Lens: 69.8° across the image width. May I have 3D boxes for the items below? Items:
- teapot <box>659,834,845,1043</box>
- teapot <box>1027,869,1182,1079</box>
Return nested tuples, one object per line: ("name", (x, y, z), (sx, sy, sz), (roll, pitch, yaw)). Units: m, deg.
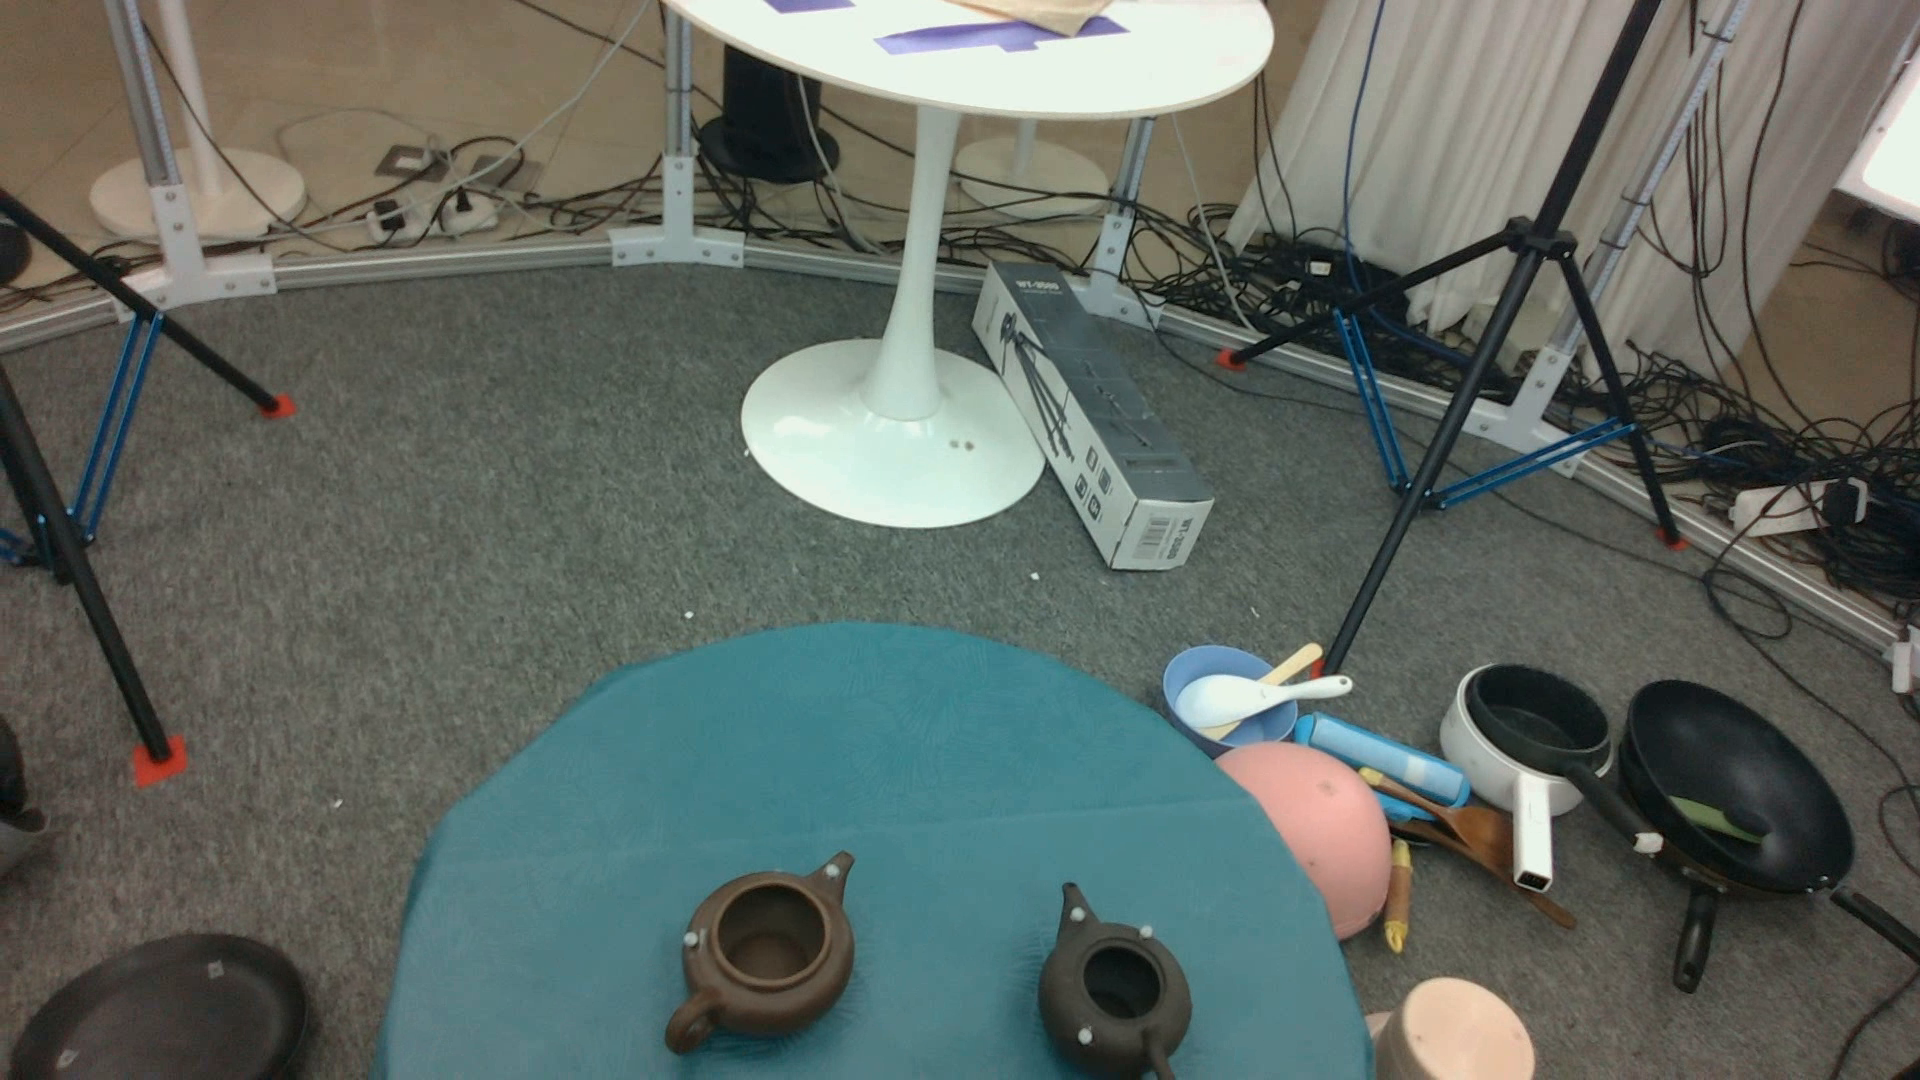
("teapot", (-0.122, 0.239, 0.821), (0.102, 0.053, 0.154), (26, 42, 18))
("teapot", (0.087, 0.272, 0.831), (0.092, 0.064, 0.154), (-9, 45, -20))
